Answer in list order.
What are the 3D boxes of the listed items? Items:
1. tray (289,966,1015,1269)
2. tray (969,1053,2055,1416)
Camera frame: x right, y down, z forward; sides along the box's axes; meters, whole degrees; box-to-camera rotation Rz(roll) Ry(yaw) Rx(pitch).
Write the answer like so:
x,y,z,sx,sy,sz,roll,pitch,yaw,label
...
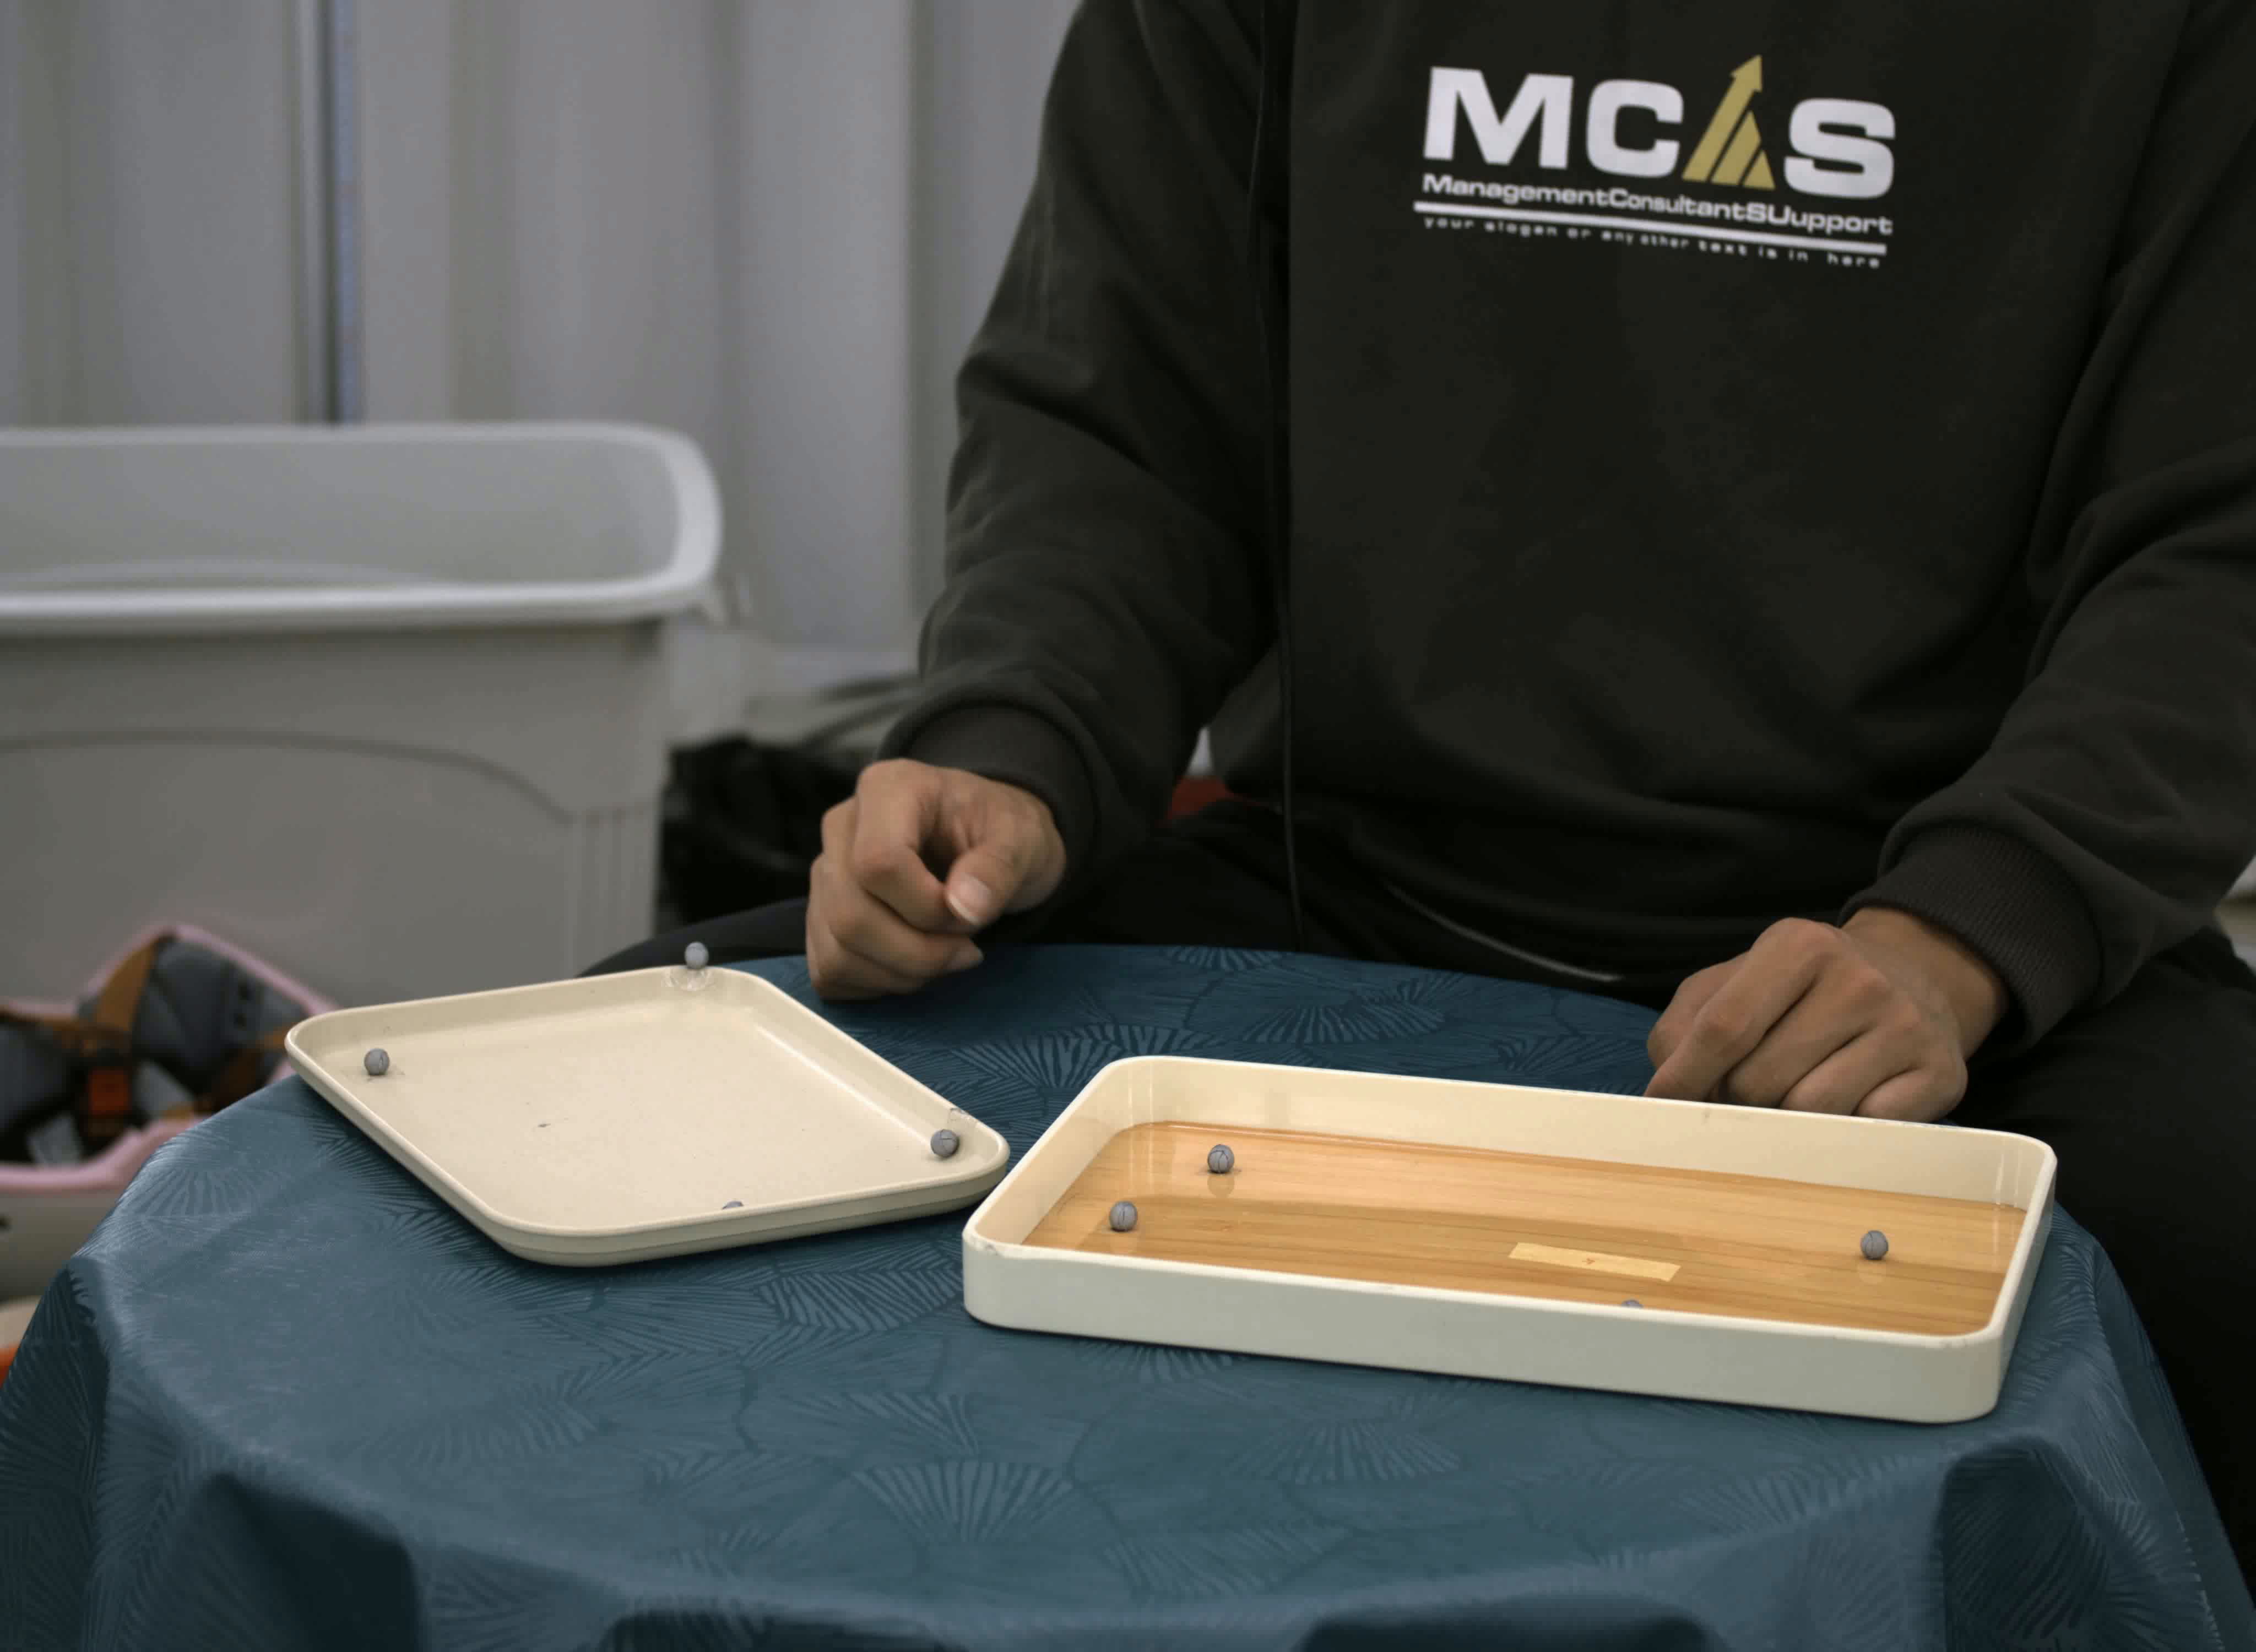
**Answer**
x,y,z,sx,sy,sz,roll,pitch,yaw,label
-0.154,0.090,1.668,0.172,0.017,0.236,-8,18,-27,tray
0.118,0.119,1.566,0.298,0.027,0.191,5,16,13,tray
